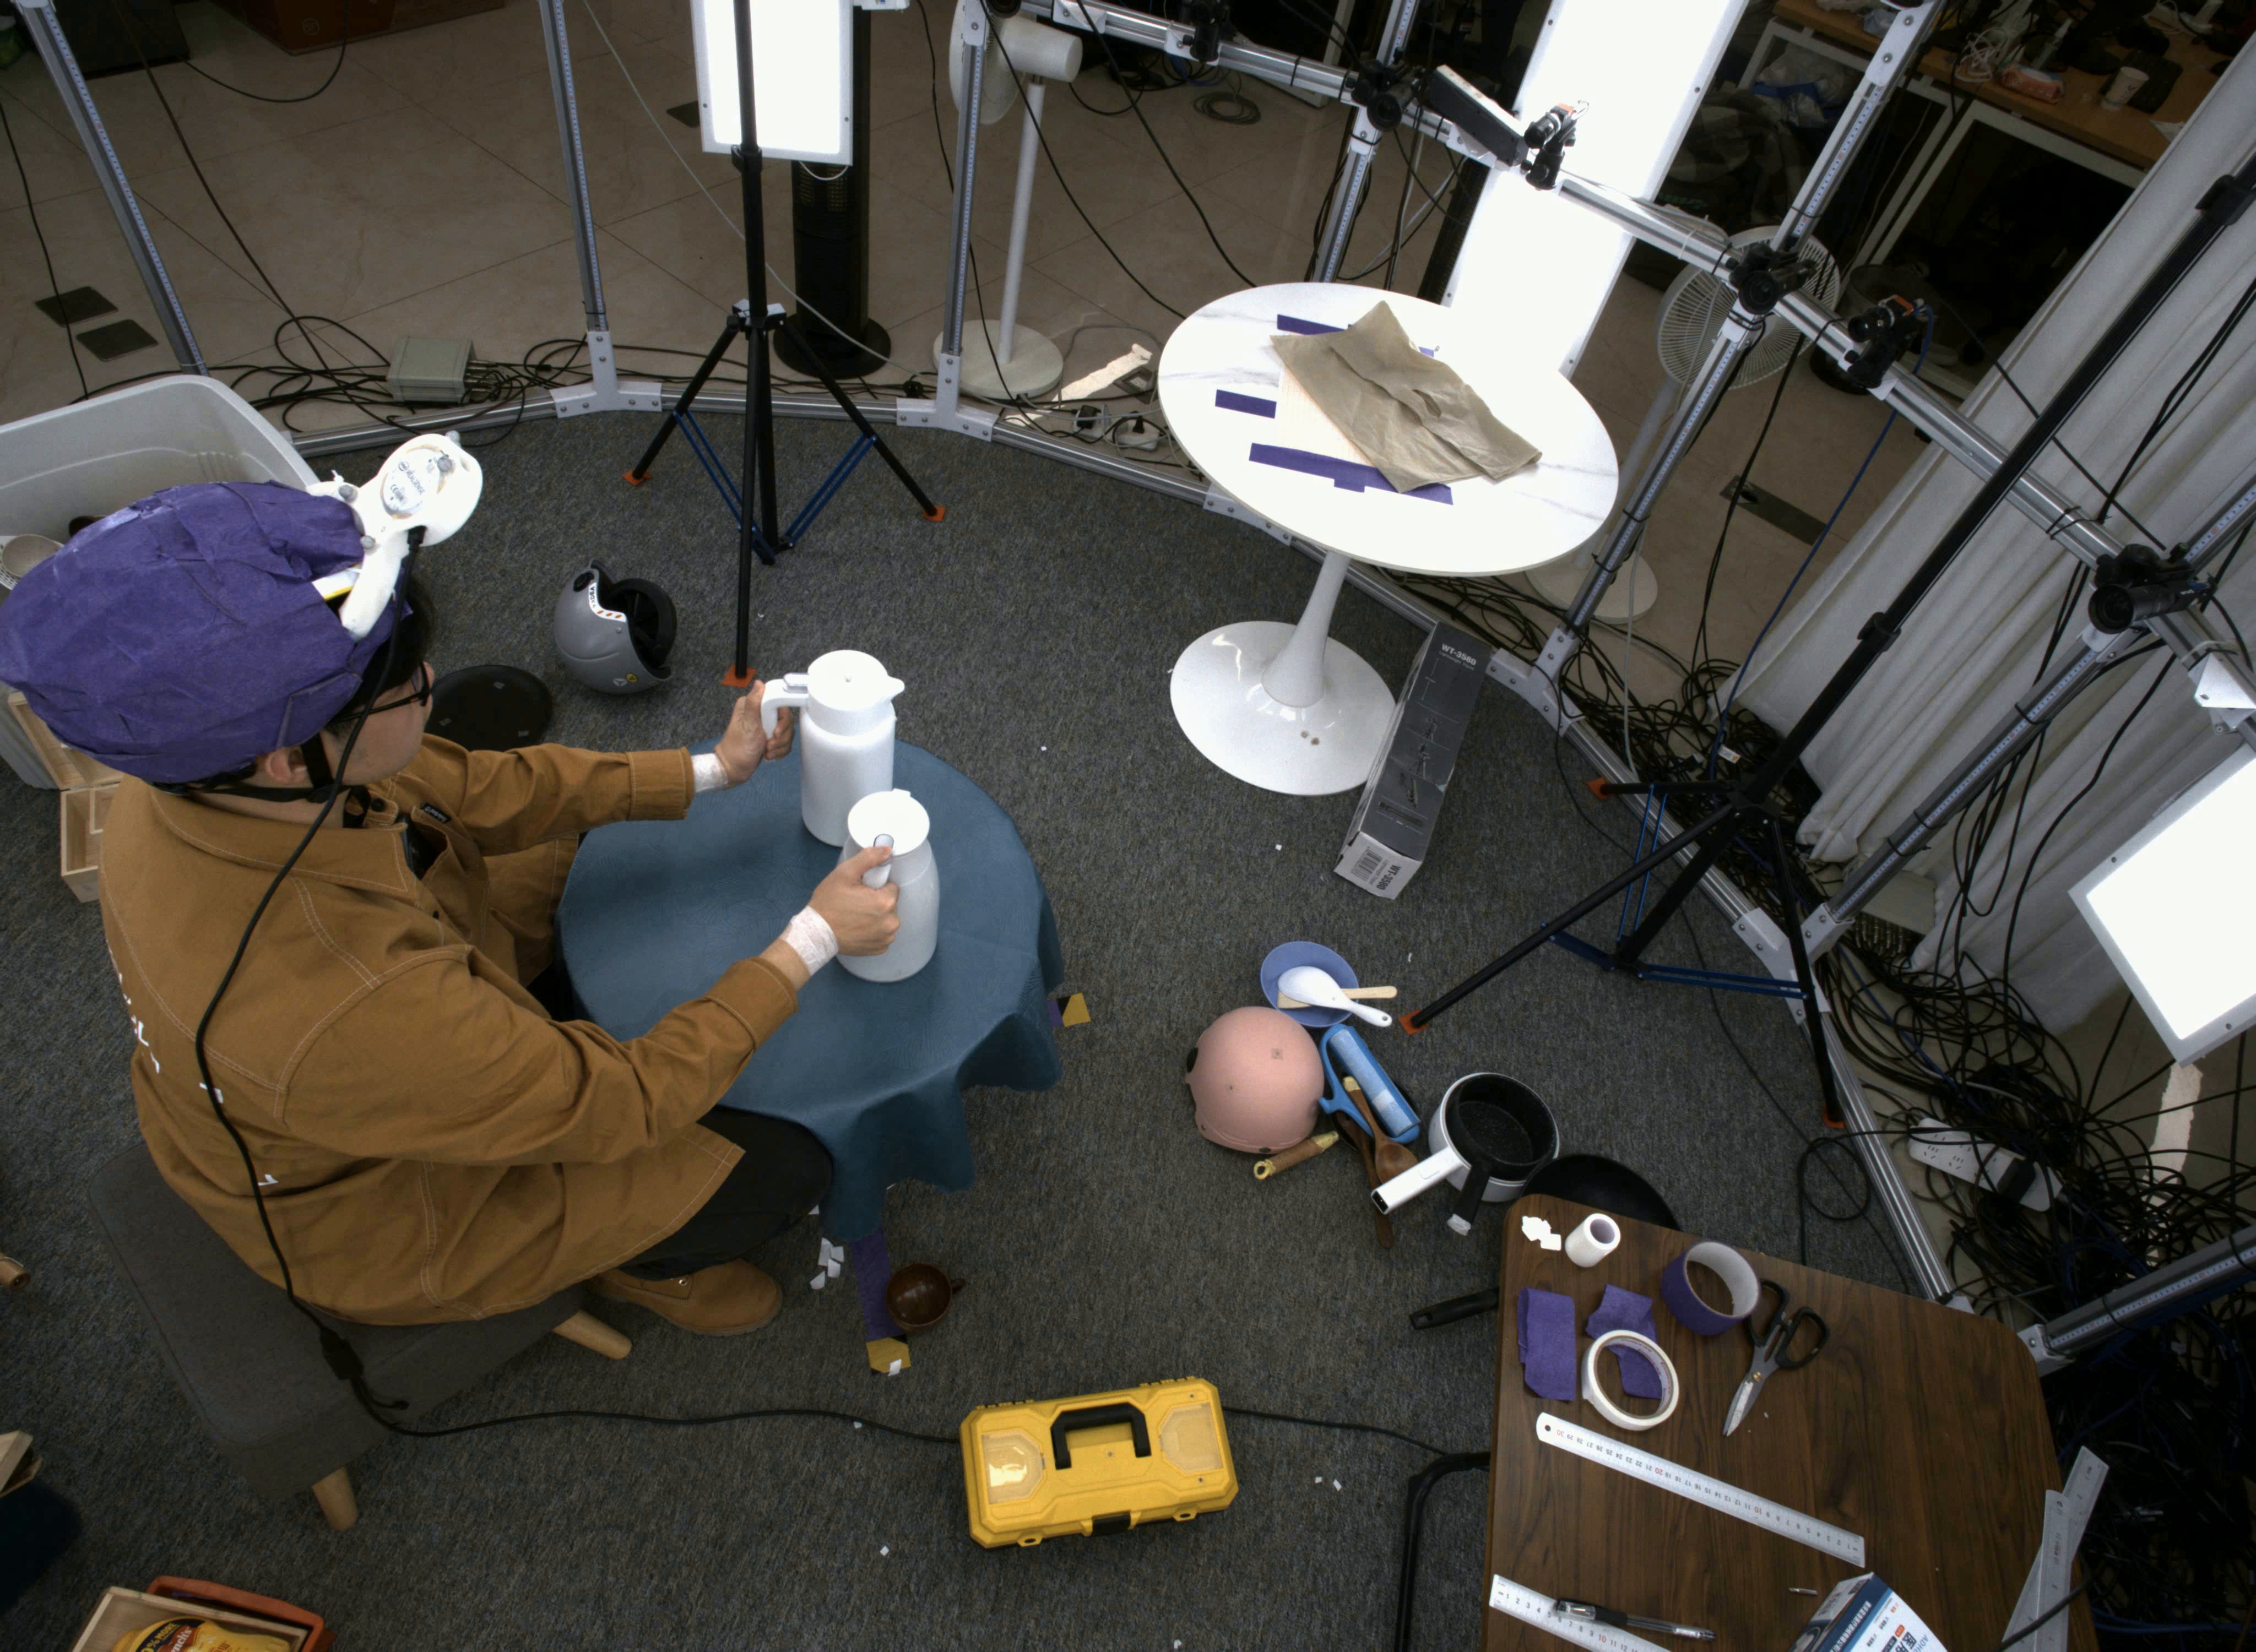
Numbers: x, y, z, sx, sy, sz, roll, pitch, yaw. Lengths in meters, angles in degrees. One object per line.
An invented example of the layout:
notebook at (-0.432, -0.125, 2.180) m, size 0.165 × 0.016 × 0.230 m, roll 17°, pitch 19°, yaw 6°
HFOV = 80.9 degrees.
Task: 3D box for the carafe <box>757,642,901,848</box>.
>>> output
carafe at (-0.375, -0.097, 1.634) m, size 0.173 × 0.274 × 0.121 m, roll -2°, pitch 55°, yaw -13°

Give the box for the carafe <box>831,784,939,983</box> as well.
carafe at (-0.290, 0.078, 1.537) m, size 0.132 × 0.254 × 0.165 m, roll 11°, pitch 52°, yaw -3°
